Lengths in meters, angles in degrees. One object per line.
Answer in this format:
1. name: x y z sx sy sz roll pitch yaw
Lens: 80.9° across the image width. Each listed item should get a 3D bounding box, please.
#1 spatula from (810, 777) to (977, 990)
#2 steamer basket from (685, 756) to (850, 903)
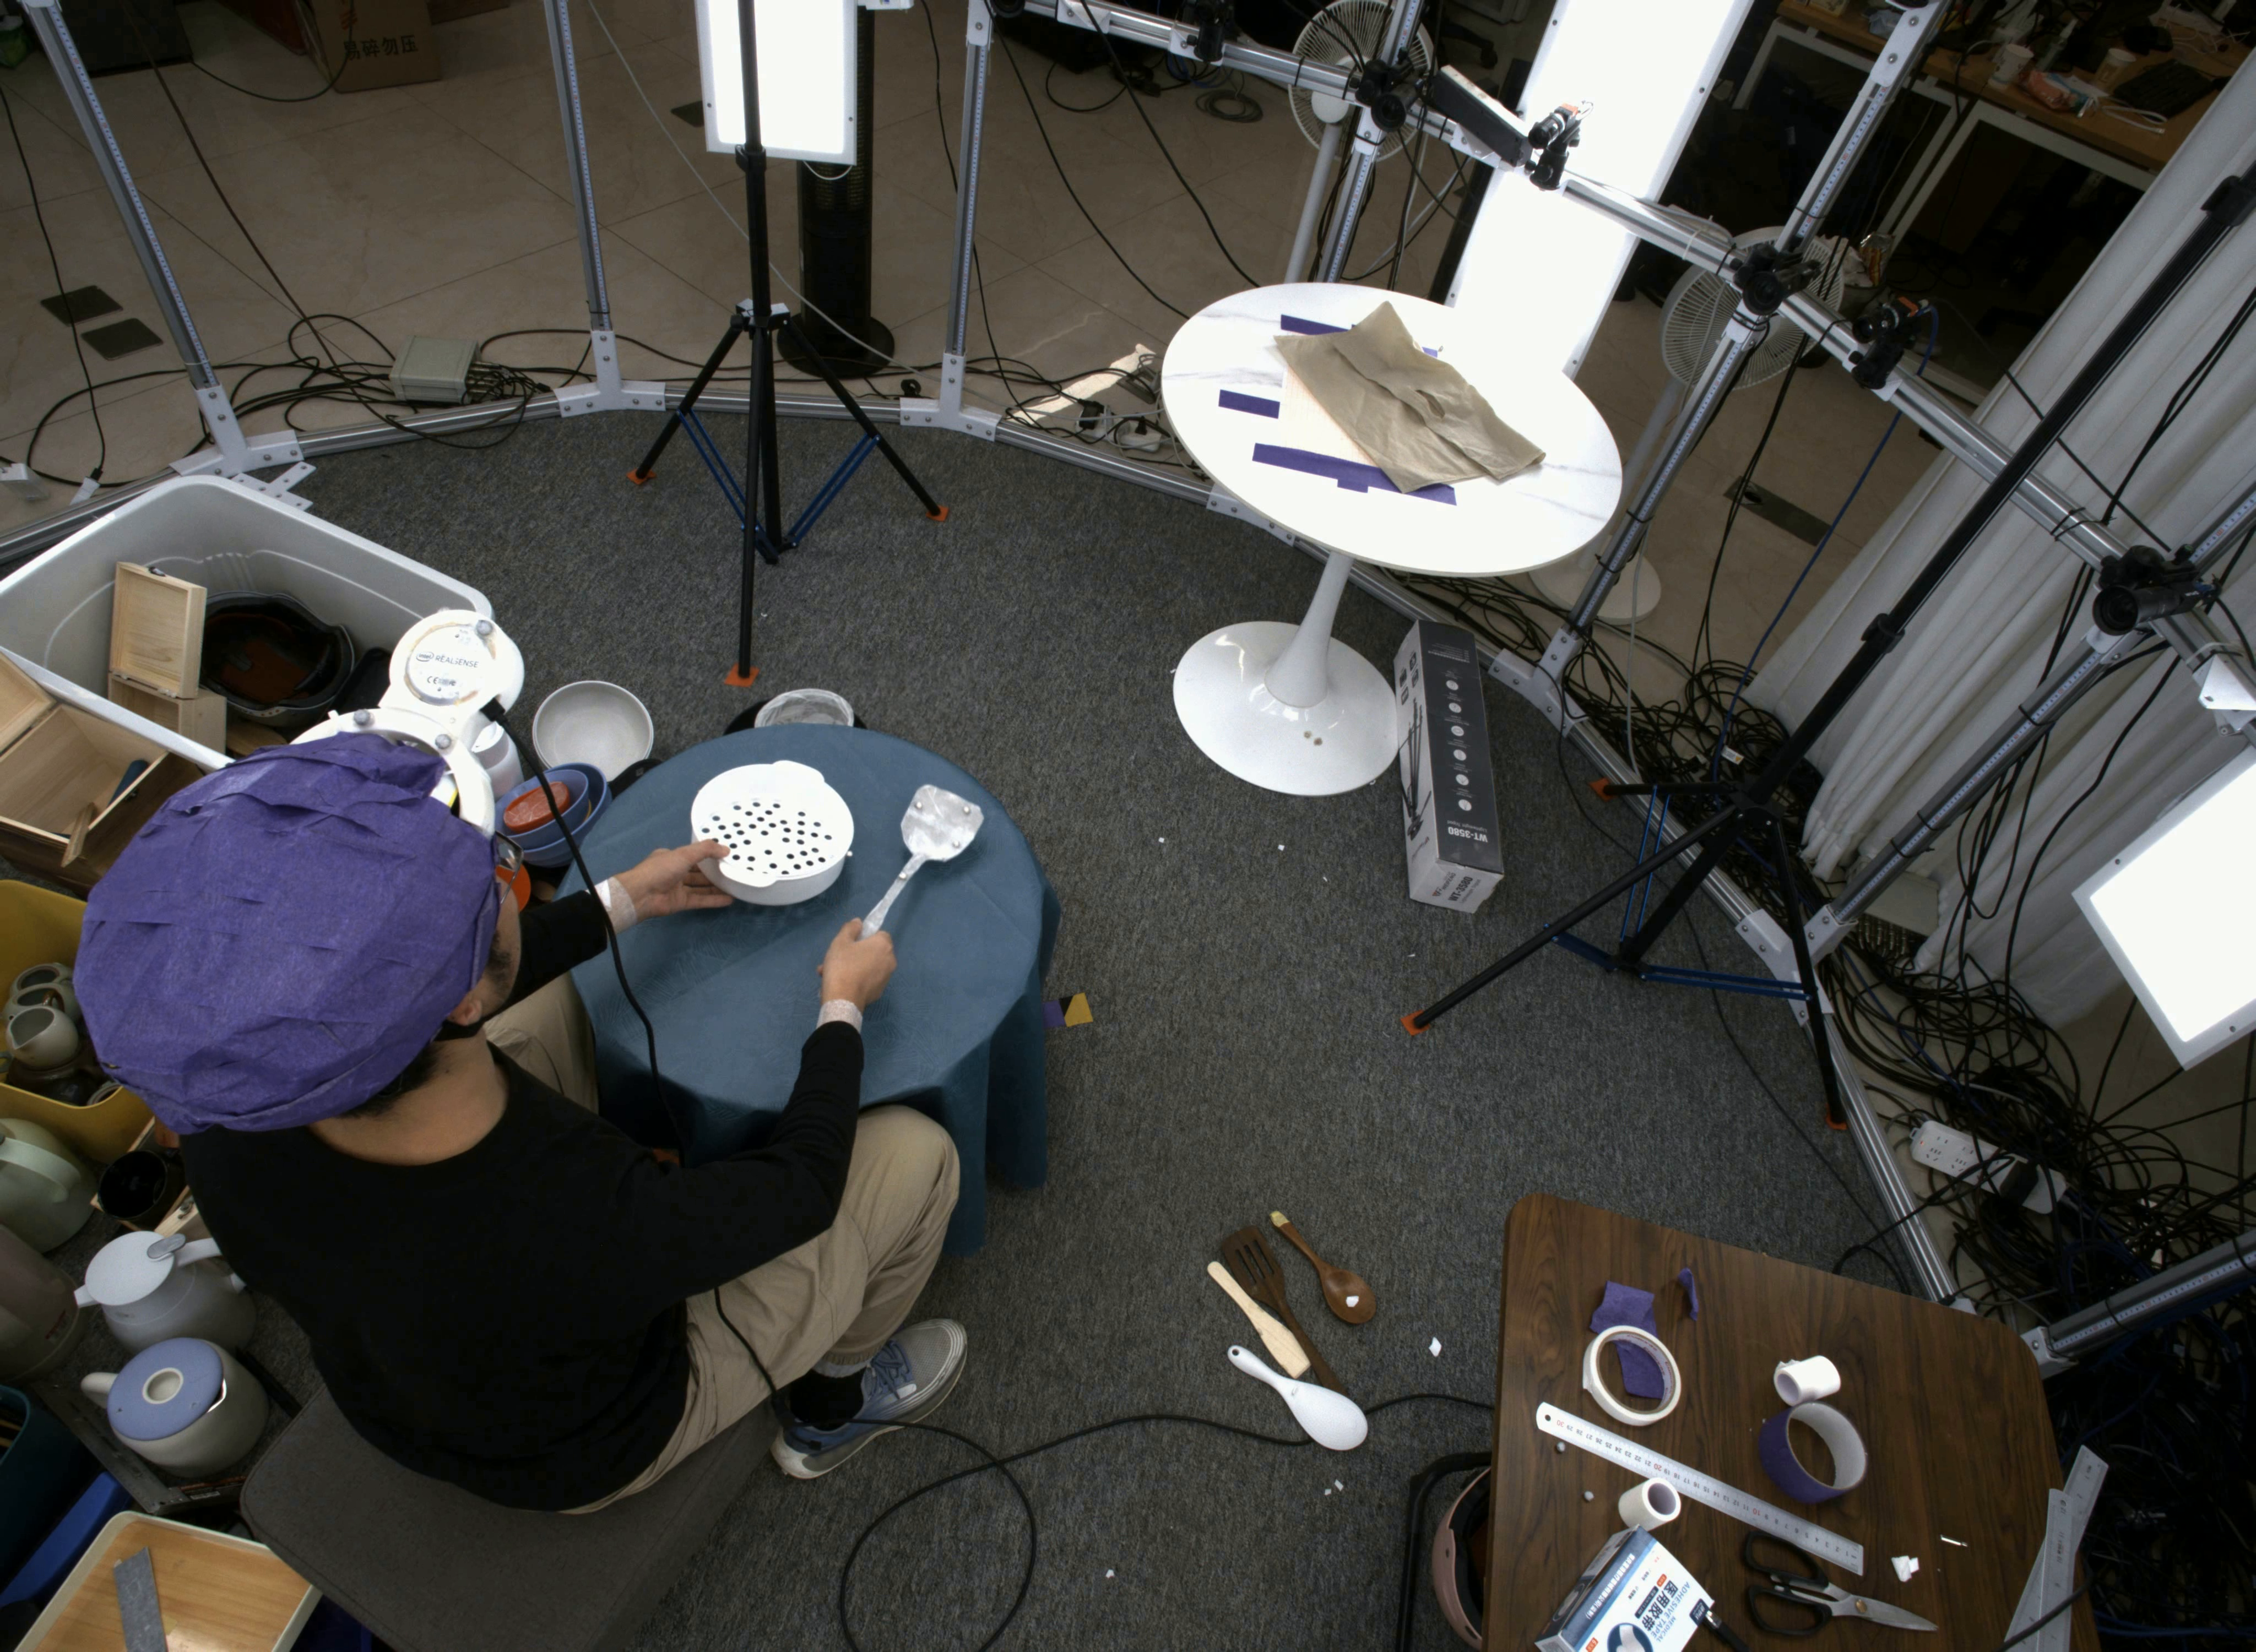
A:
1. spatula: -0.296 0.069 1.610 0.098 0.045 0.361 28 41 -1
2. steamer basket: -0.459 0.007 1.643 0.201 0.070 0.227 18 42 -7
